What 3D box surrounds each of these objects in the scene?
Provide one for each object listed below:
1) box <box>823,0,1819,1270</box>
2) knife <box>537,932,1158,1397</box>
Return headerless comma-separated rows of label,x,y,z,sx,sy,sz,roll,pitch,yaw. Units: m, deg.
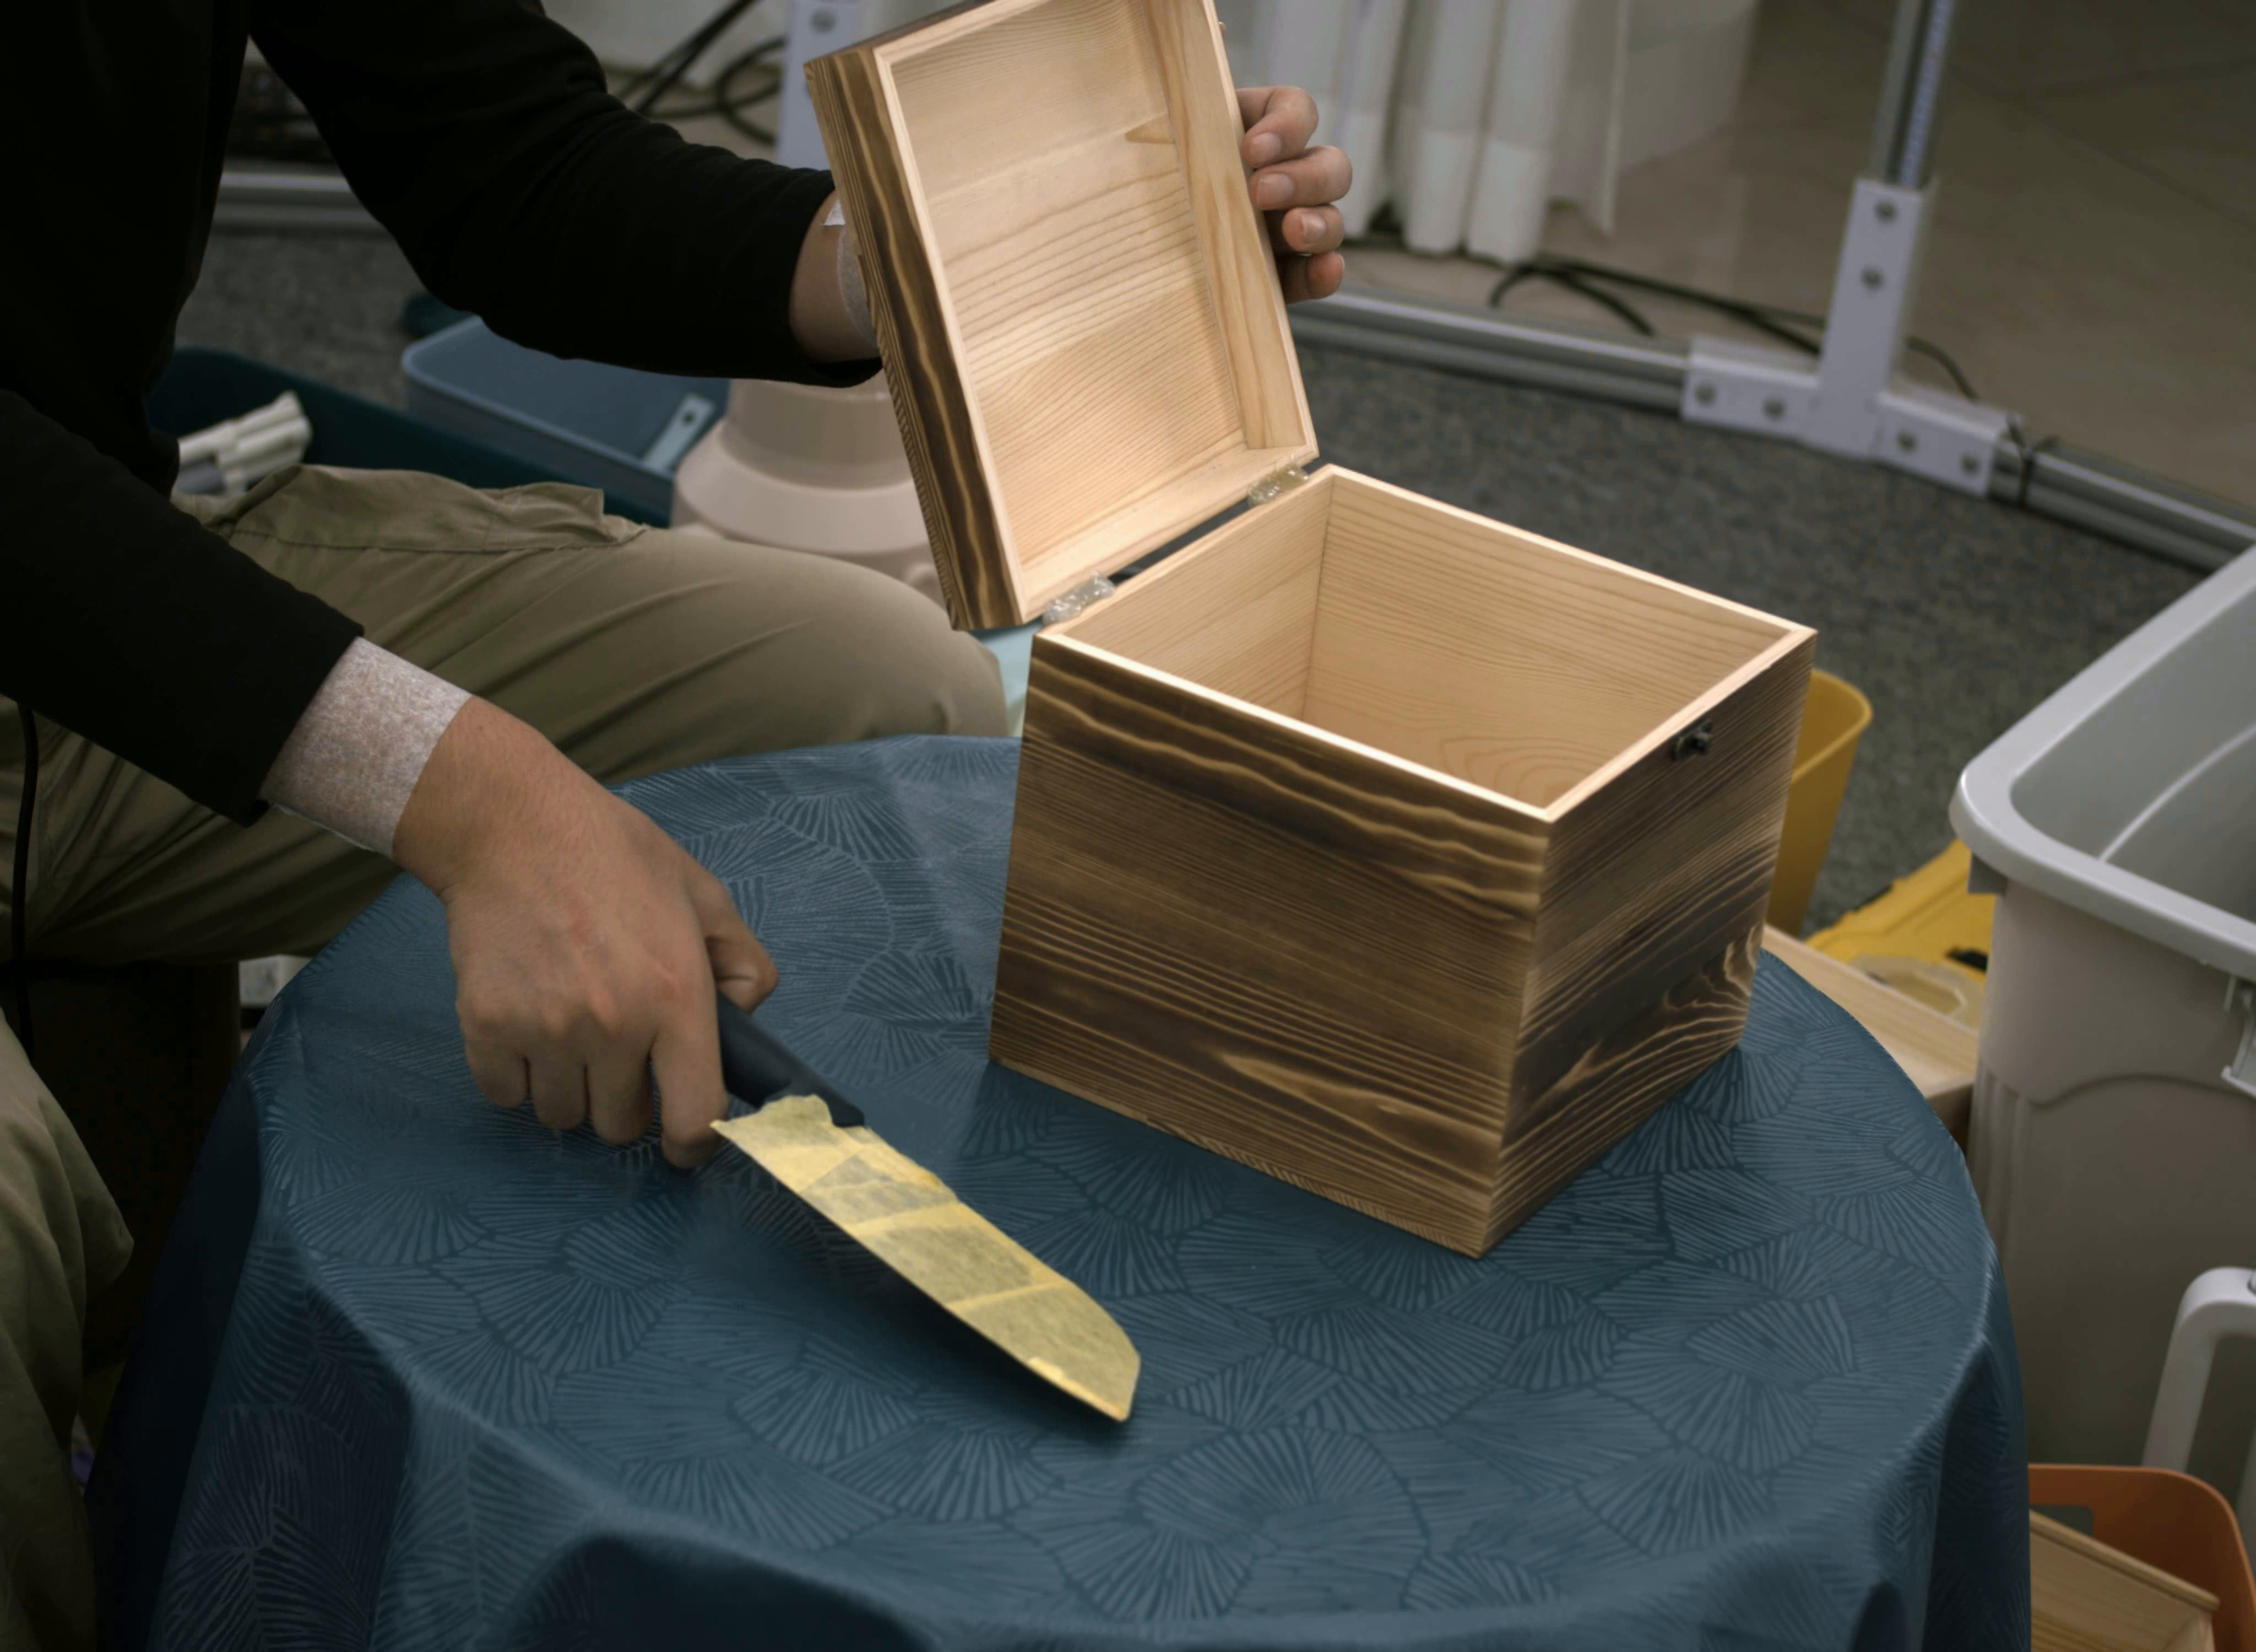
box,0.061,-0.093,1.846,0.324,0.374,0.208,20,30,26
knife,-0.098,0.111,1.748,0.291,0.027,0.080,33,15,31
